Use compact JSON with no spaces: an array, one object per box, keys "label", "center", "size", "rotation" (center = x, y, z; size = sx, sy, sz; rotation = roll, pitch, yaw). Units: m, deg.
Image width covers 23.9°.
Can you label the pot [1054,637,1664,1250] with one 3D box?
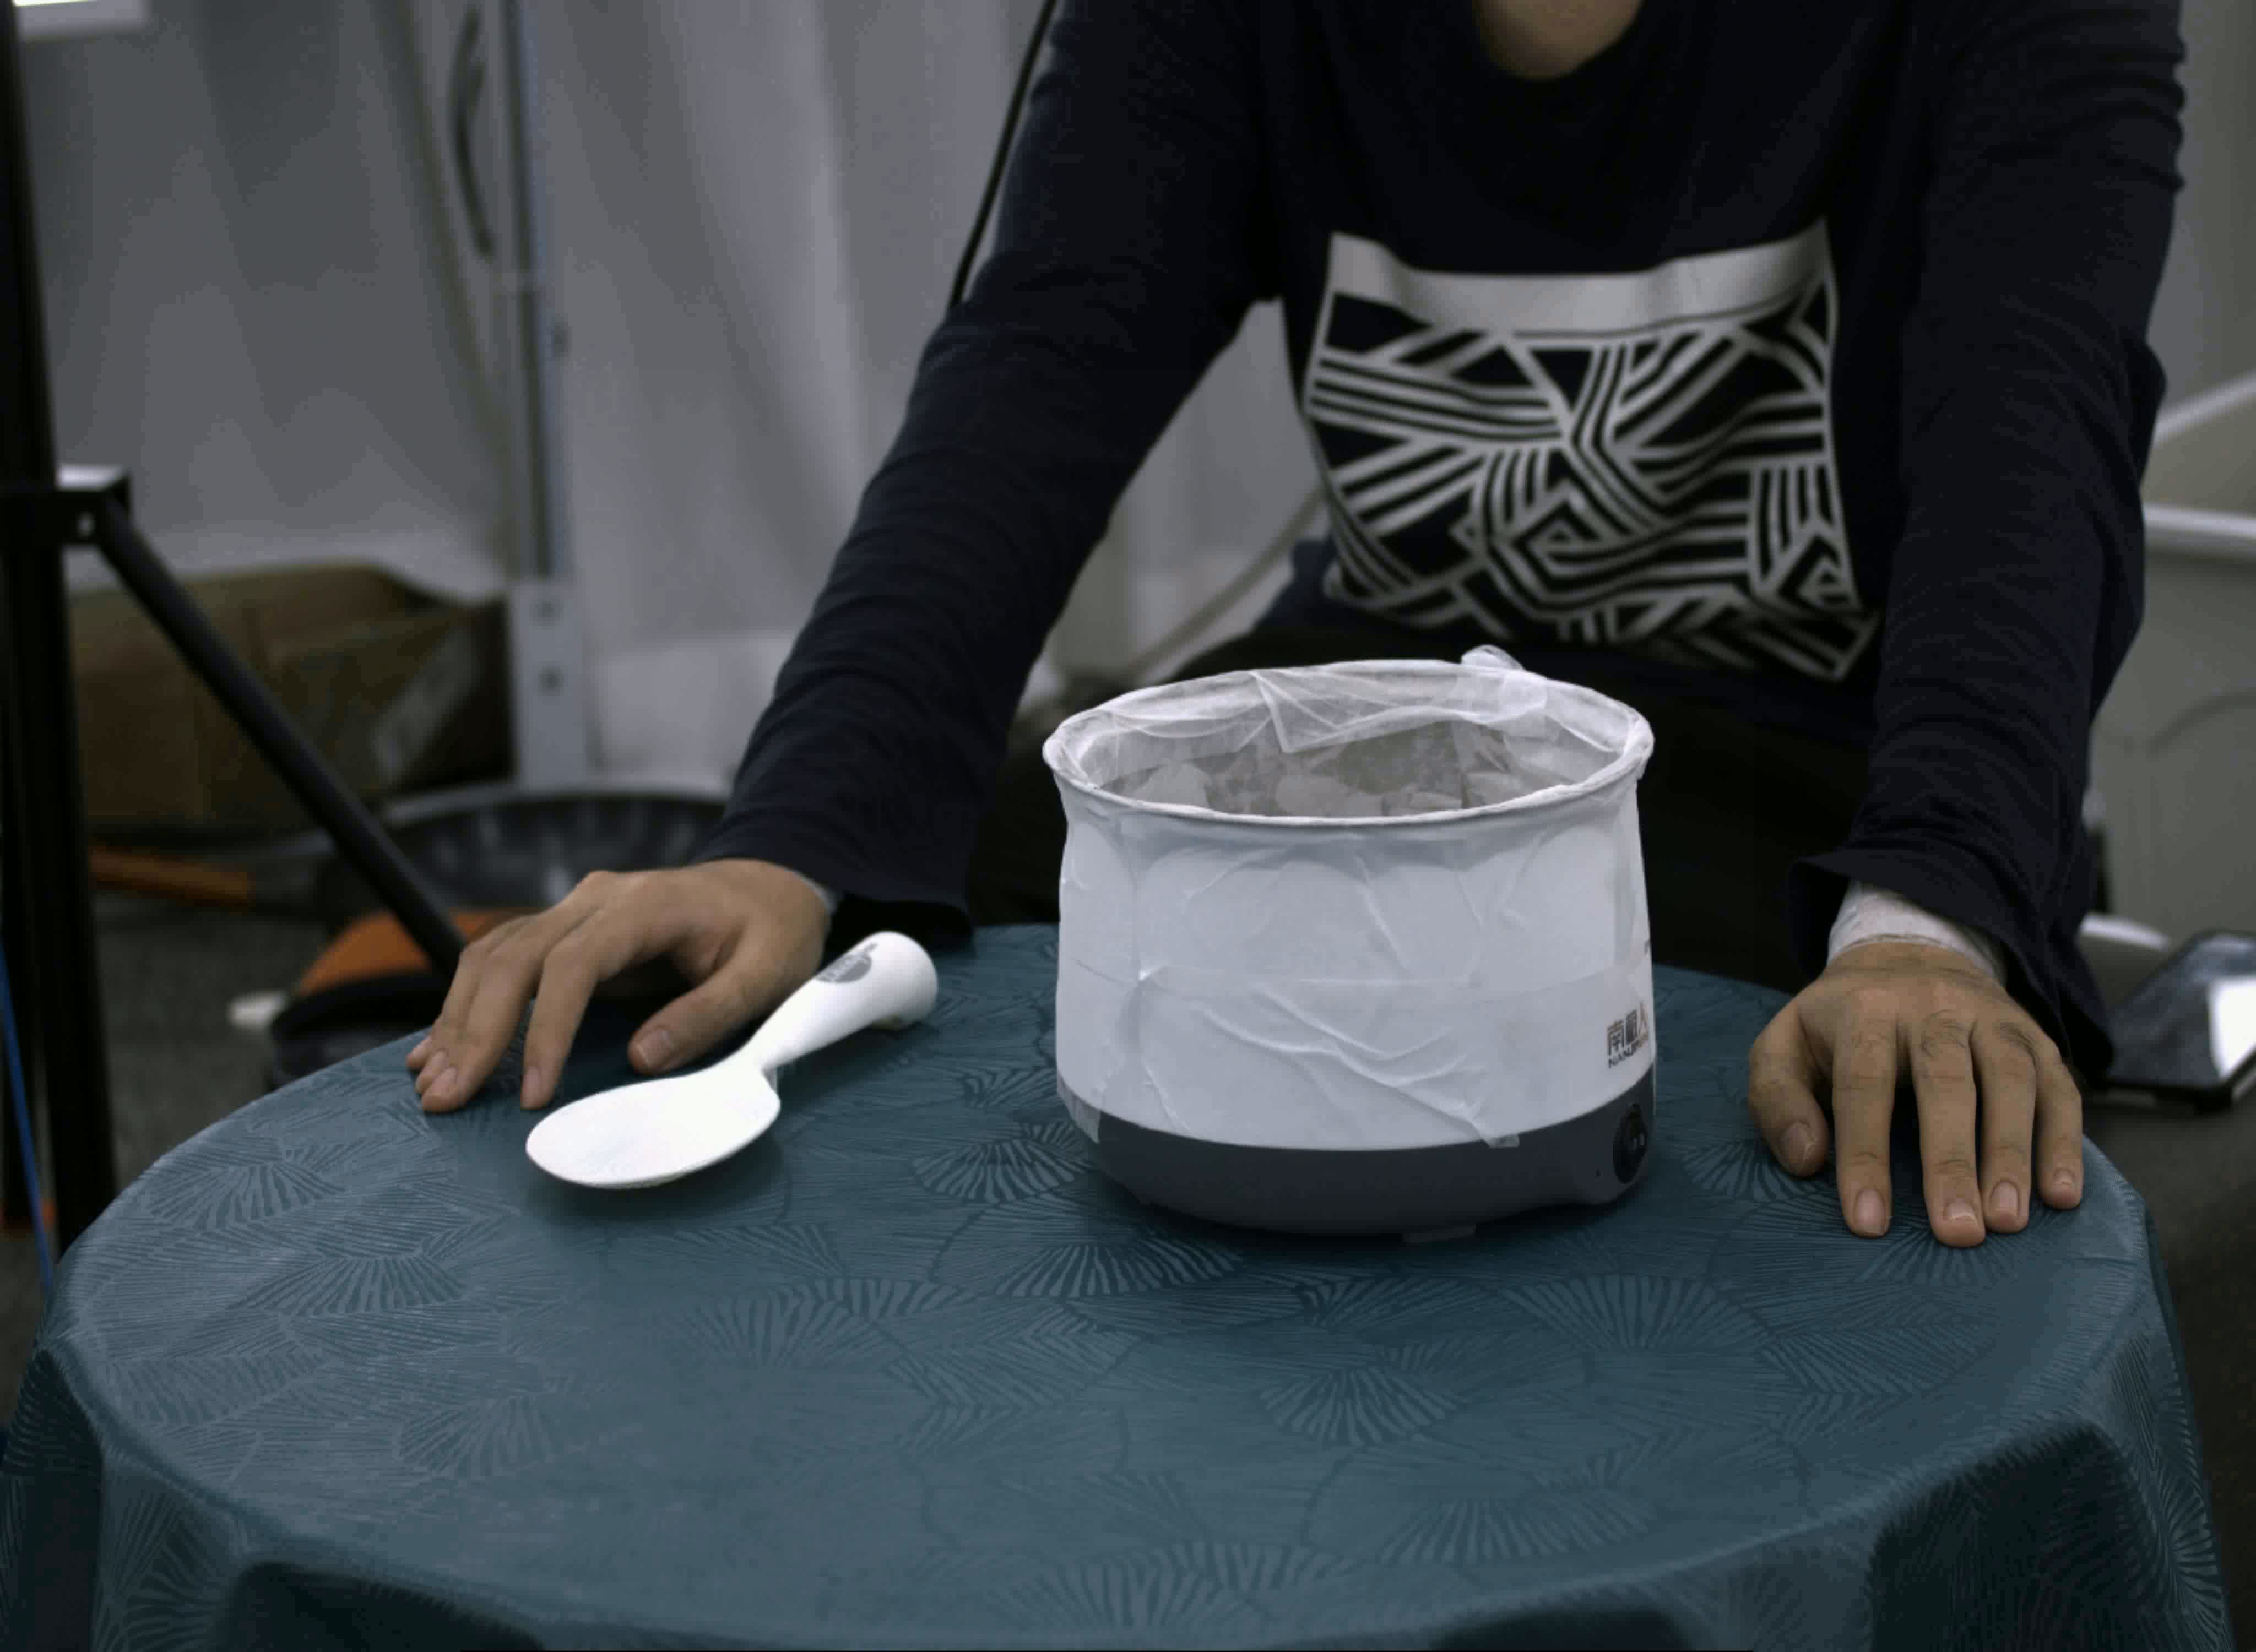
[{"label":"pot","center":[0.078,0.027,1.579],"size":[0.181,0.136,0.230],"rotation":[8,20,25]}]

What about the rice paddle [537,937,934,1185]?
[{"label":"rice paddle","center":[-0.116,0.075,1.644],"size":[0.070,0.029,0.202],"rotation":[2,16,24]}]
